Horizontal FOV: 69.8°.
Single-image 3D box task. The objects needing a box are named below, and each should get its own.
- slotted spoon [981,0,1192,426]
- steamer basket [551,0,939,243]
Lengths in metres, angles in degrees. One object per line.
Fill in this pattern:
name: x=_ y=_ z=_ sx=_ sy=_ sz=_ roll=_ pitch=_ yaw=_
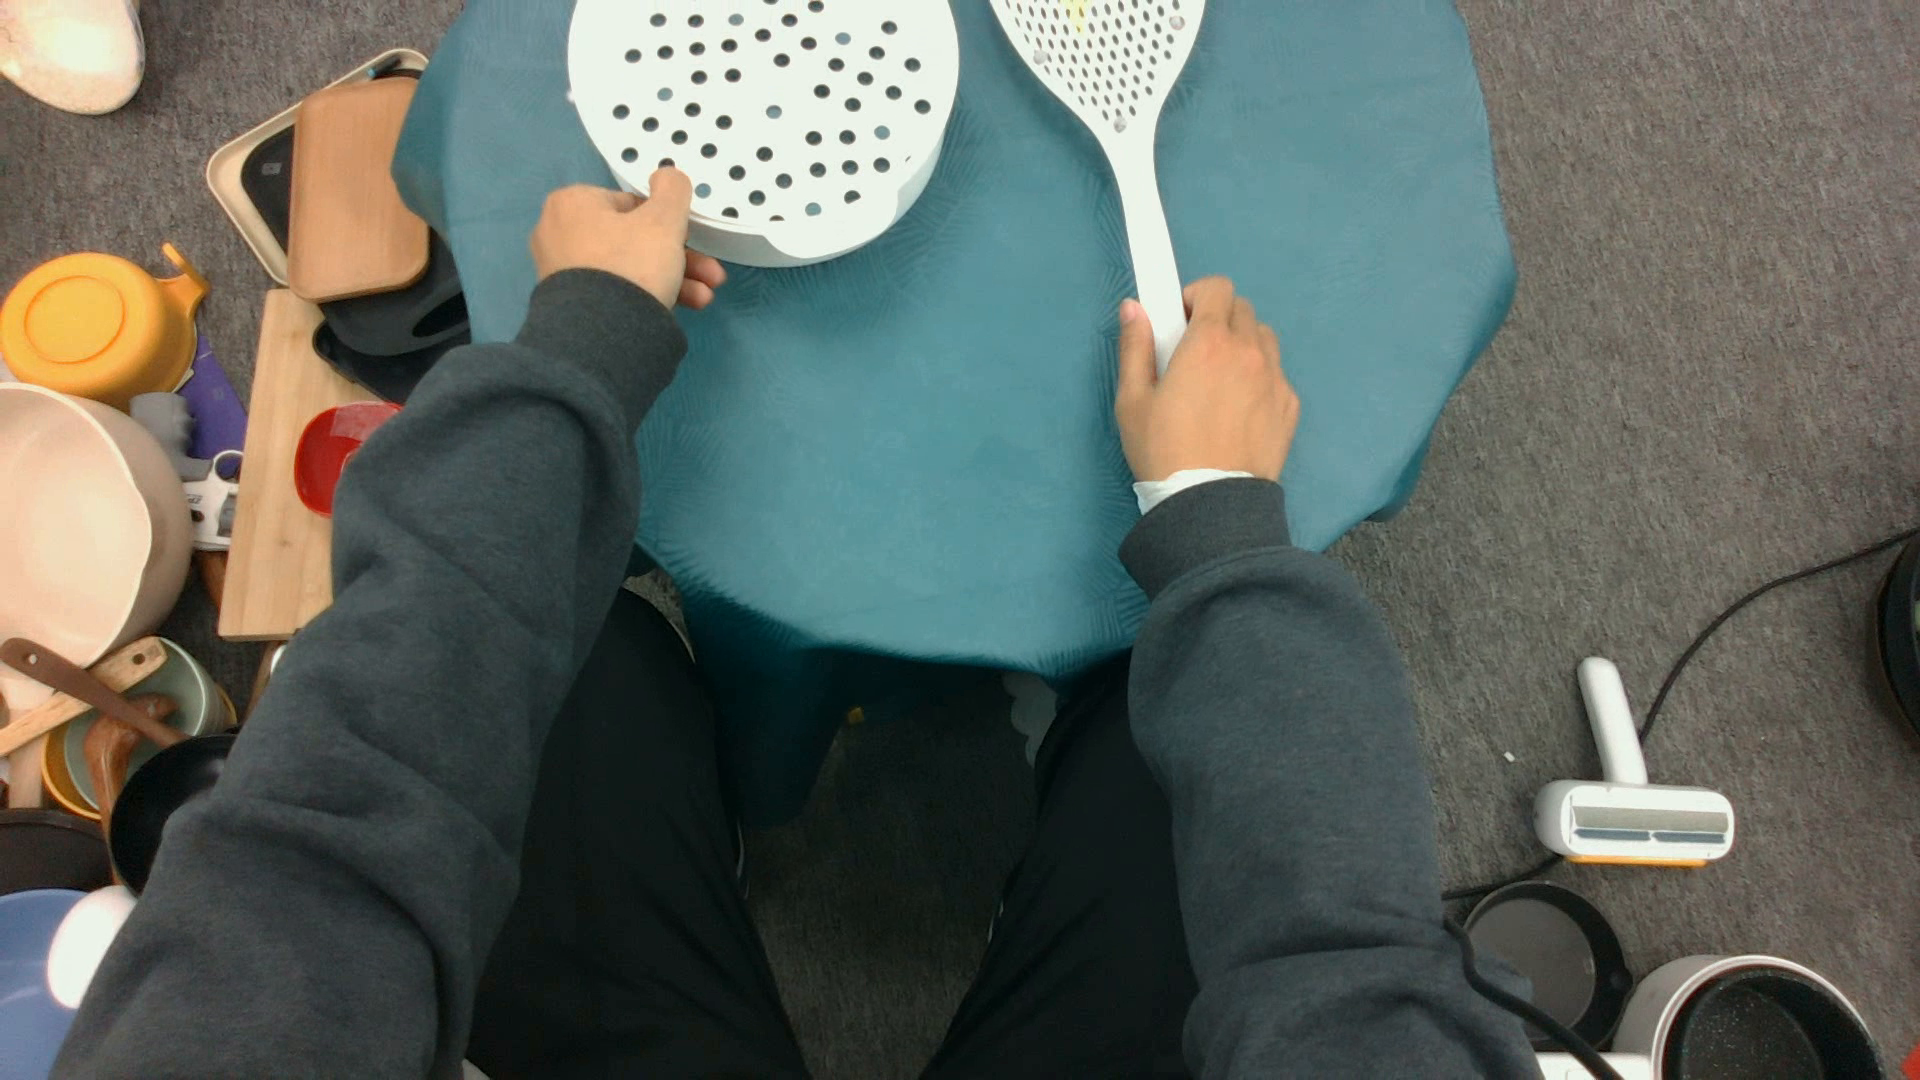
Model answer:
slotted spoon: x=0.083 y=-0.235 z=0.771 sx=0.137 sy=0.050 sz=0.348 roll=-9 pitch=79 yaw=-10
steamer basket: x=-0.113 y=-0.260 z=0.747 sx=0.202 sy=0.069 sz=0.231 roll=-22 pitch=78 yaw=-9
